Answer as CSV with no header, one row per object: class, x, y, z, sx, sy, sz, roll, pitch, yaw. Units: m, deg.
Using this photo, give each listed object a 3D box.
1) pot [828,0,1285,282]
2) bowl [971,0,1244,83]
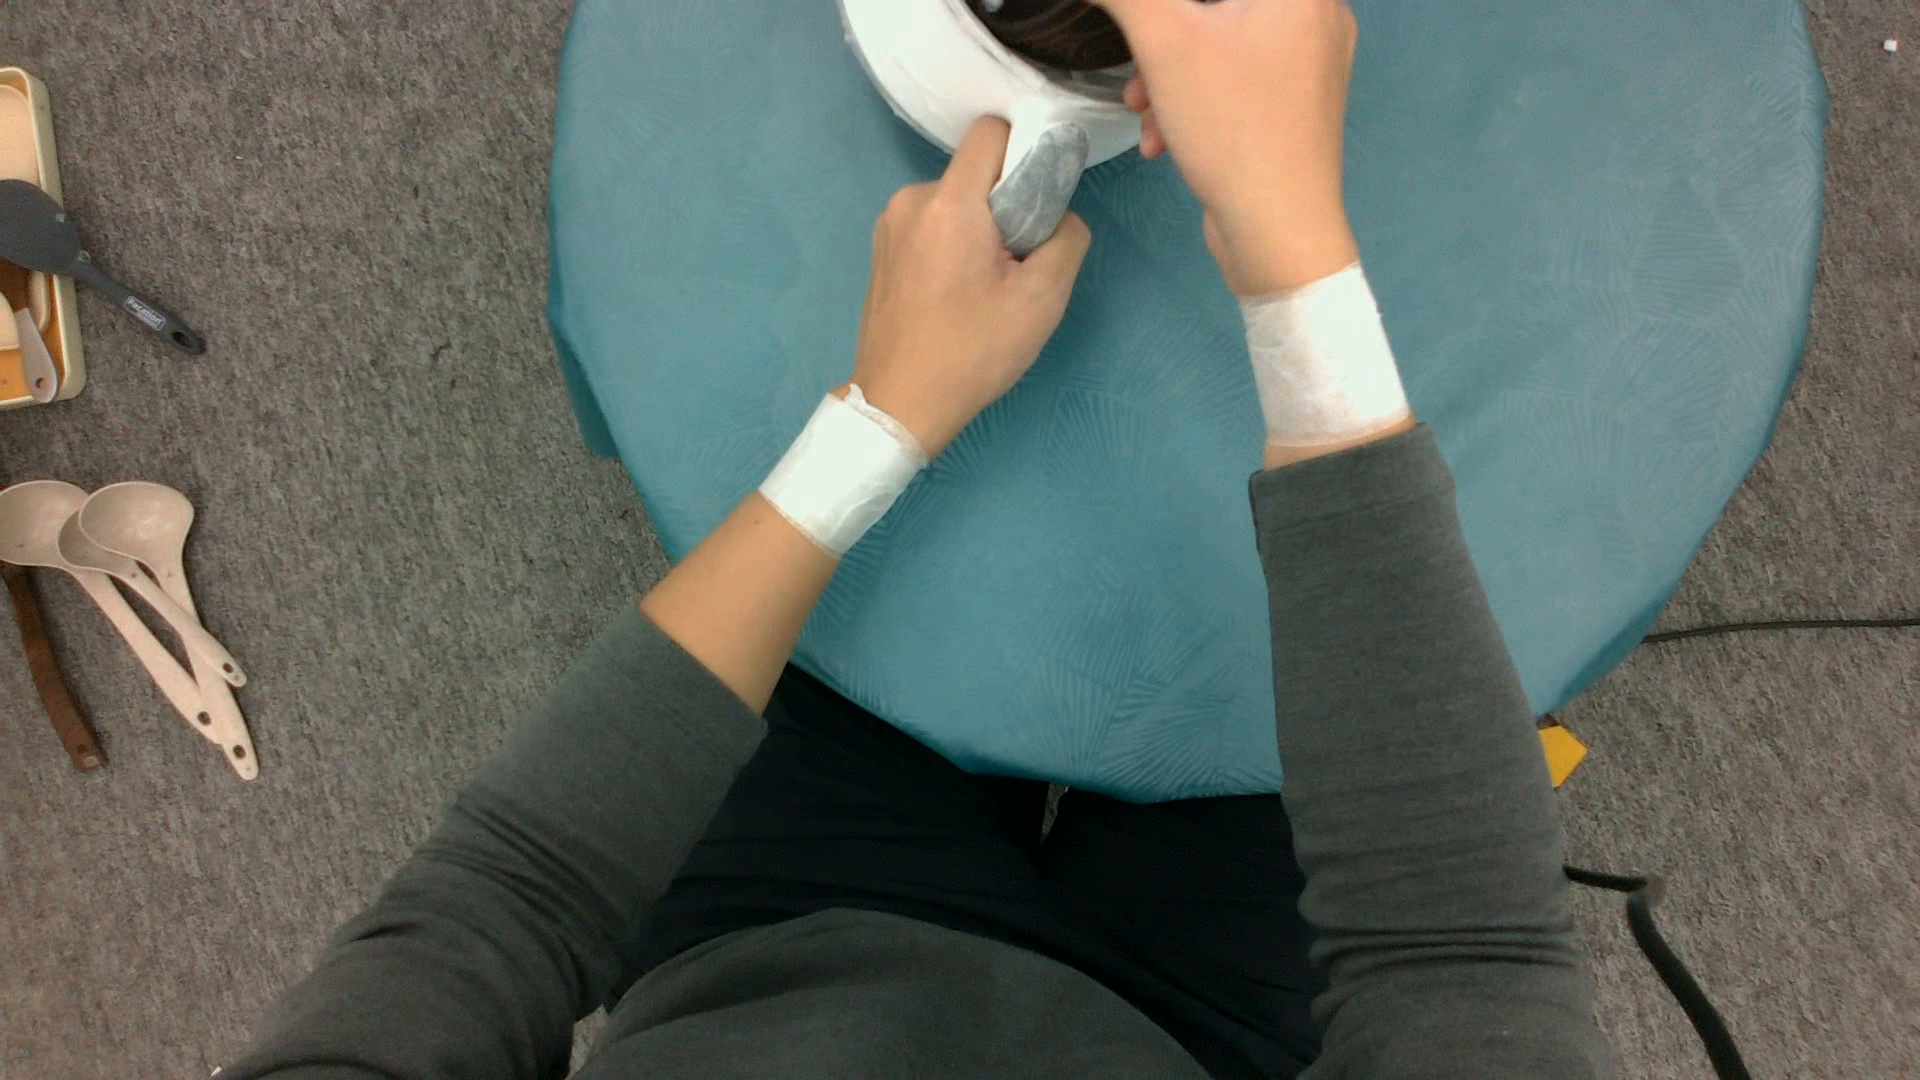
pot,0.031,-0.227,0.574,0.179,0.136,0.233,11,89,-18
bowl,0.065,-0.227,0.512,0.117,0.070,0.118,-6,81,40
